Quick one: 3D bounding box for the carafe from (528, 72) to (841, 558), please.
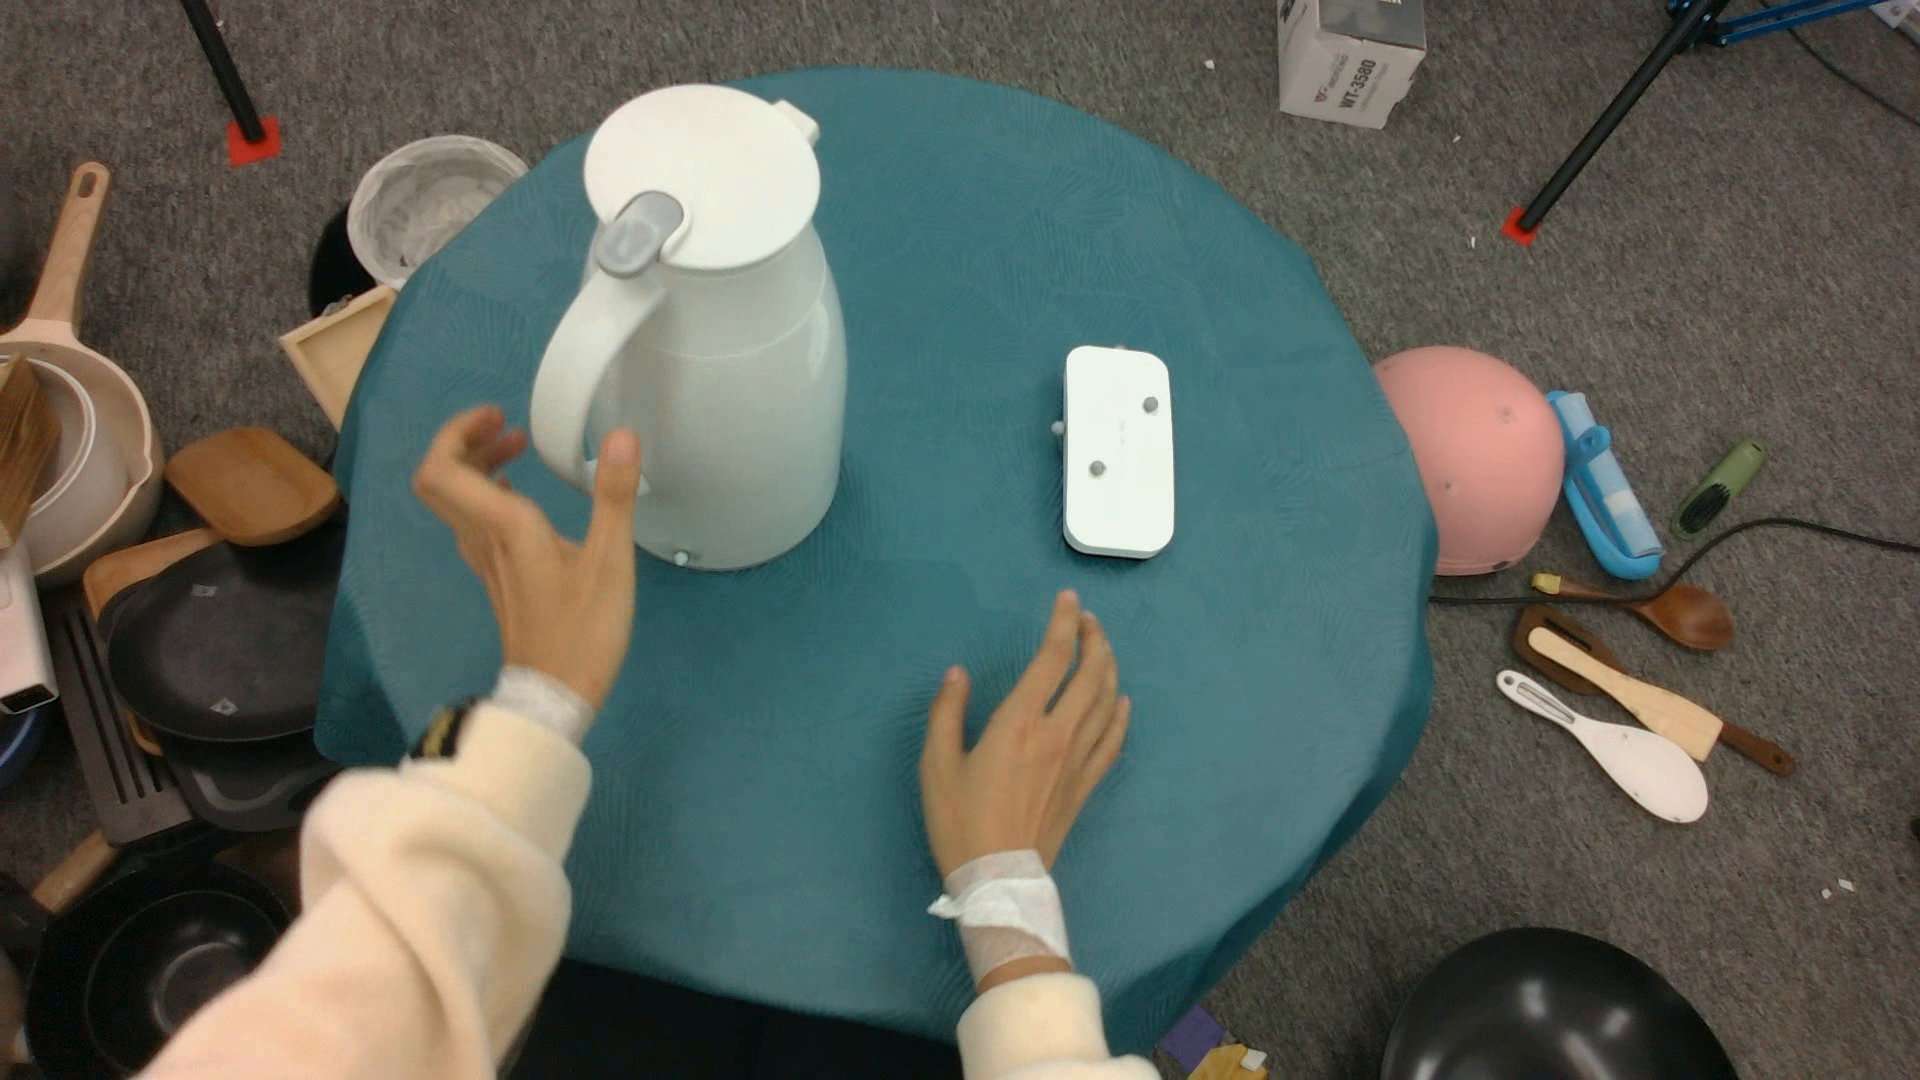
[{"bbox_3d":[-0.130,-0.088,0.642,0.132,0.247,0.168,35,65,8],"label":"carafe"}]

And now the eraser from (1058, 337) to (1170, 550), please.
[{"bbox_3d":[0.085,-0.057,0.785,0.063,0.034,0.132,5,63,-4],"label":"eraser"}]
